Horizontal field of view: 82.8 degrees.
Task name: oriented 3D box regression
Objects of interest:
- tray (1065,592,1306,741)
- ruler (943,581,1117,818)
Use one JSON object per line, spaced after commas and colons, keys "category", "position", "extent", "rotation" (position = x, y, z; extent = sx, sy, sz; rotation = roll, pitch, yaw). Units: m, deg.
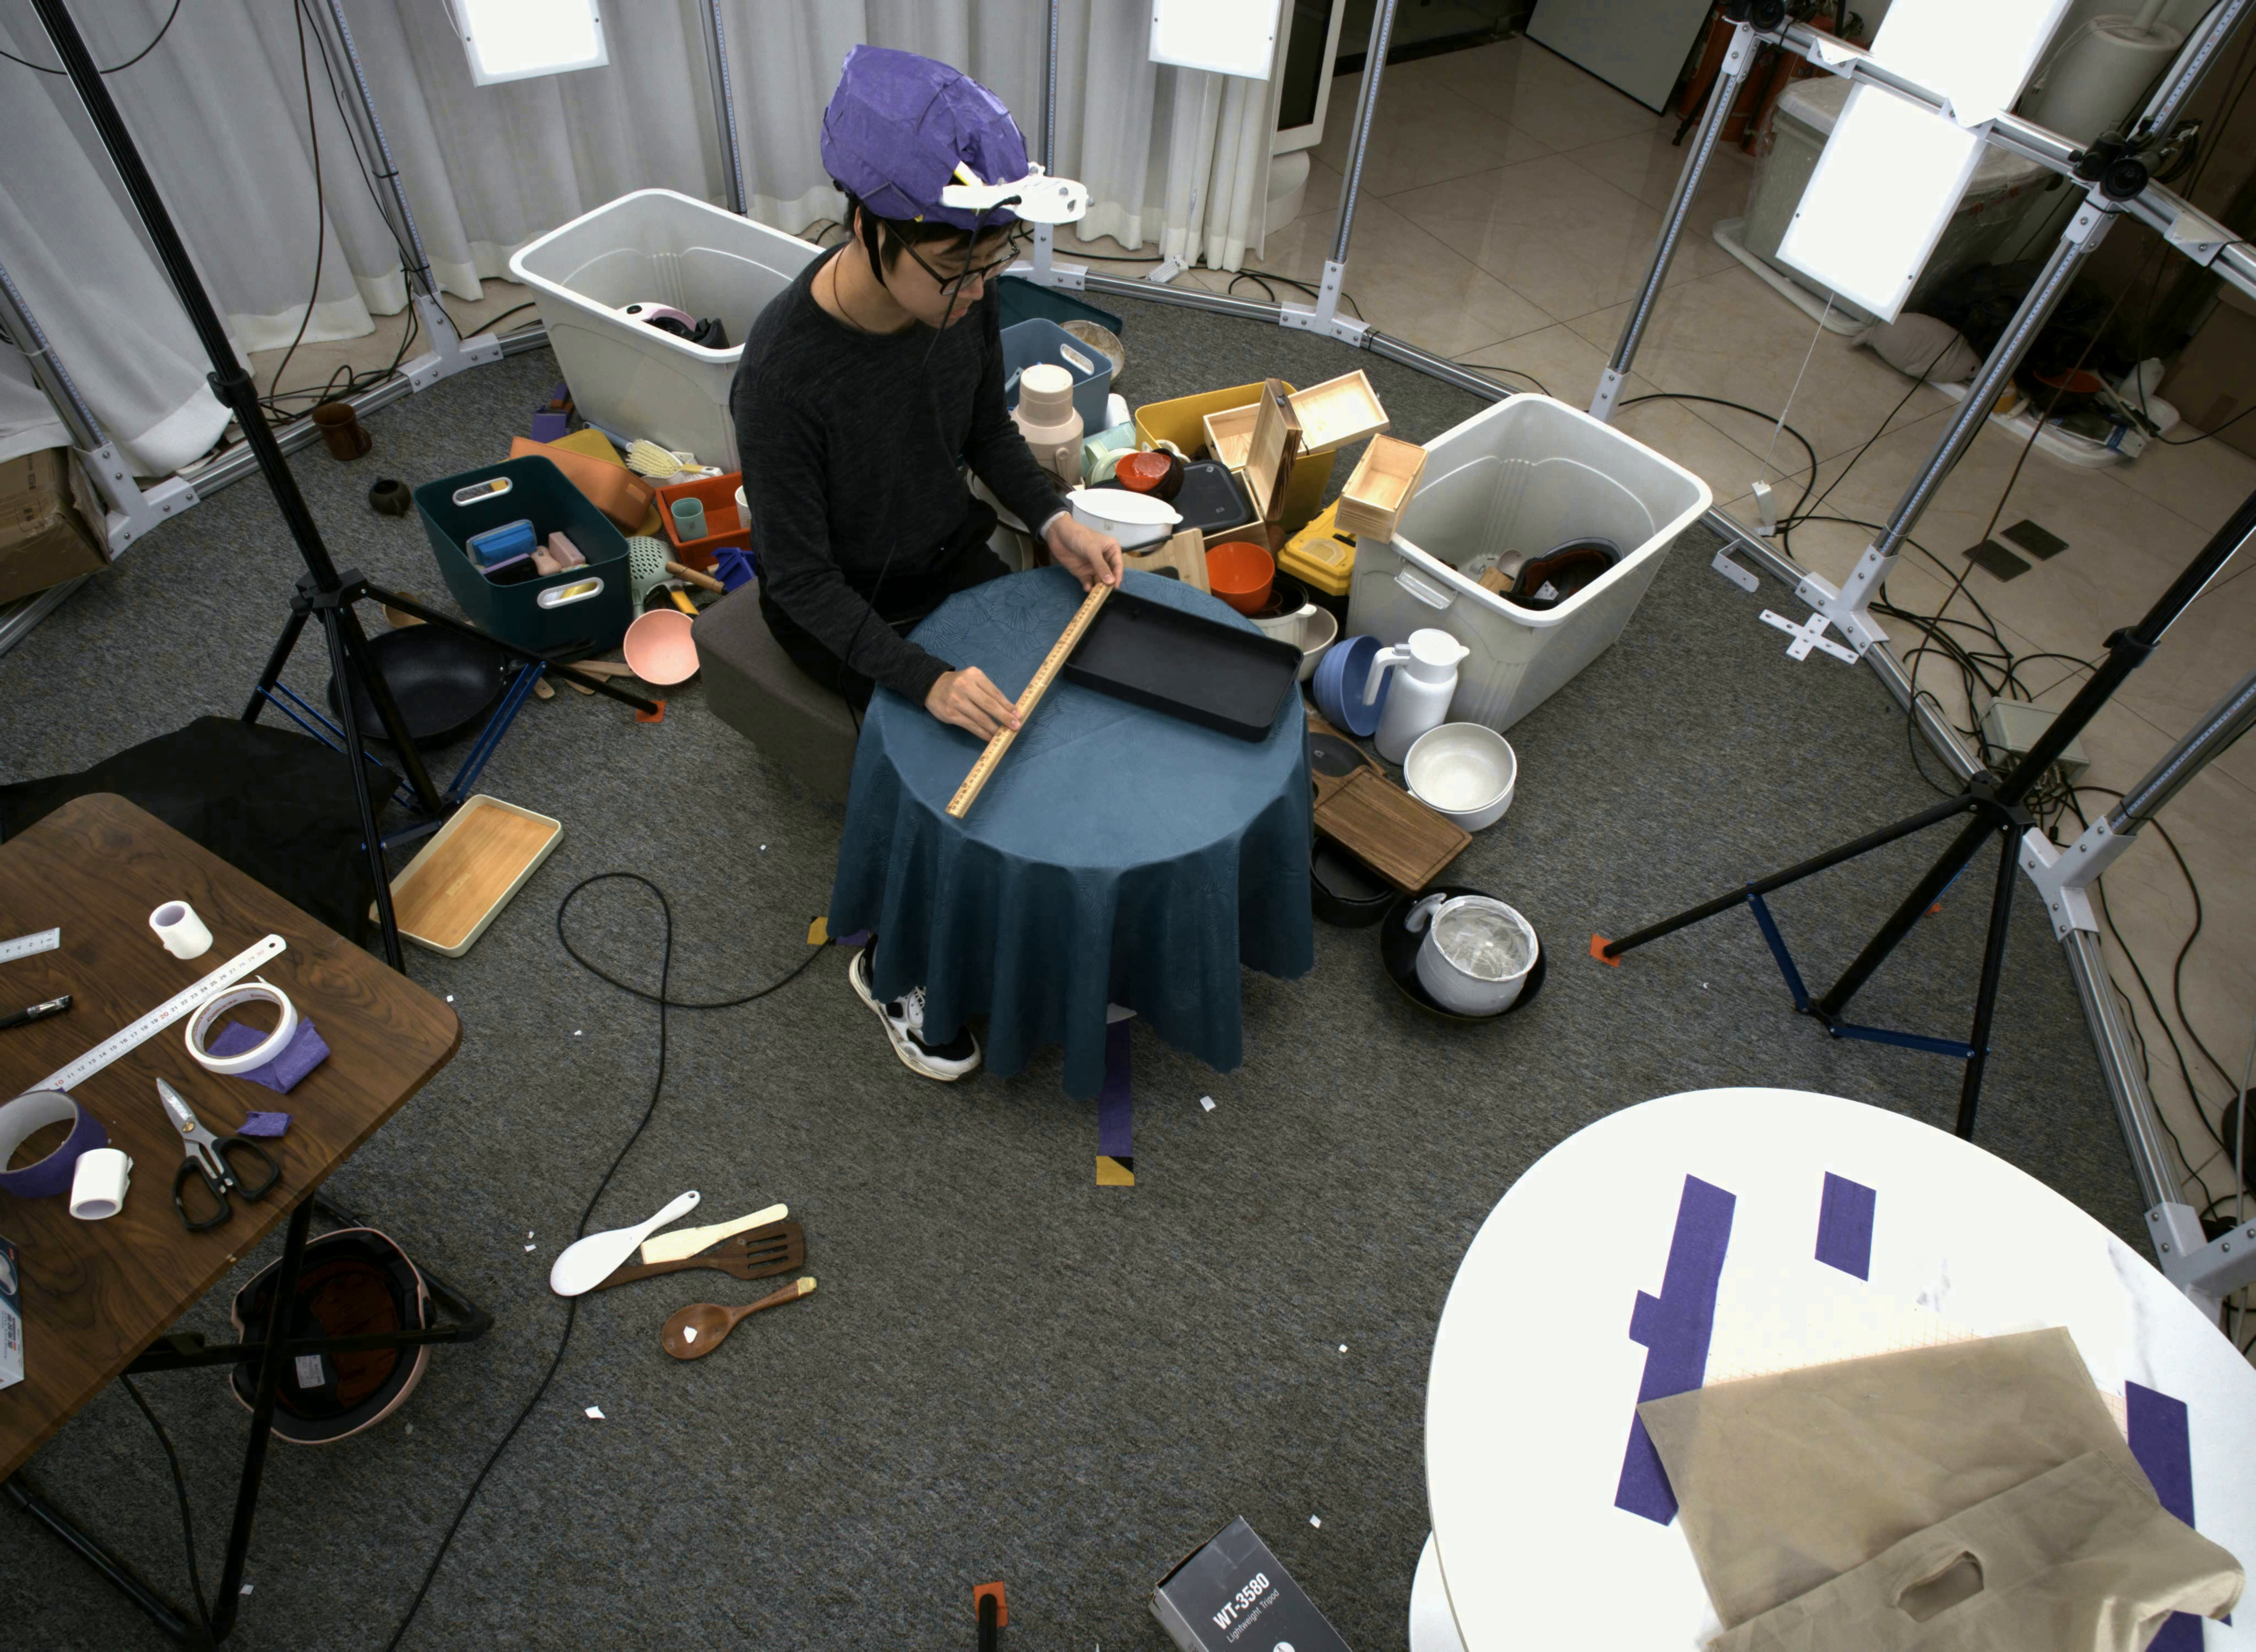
{"category": "tray", "position": [0.084, -0.233, 1.855], "extent": [0.319, 0.036, 0.188], "rotation": [18, 50, 12]}
{"category": "ruler", "position": [-0.127, -0.190, 1.780], "extent": [0.027, 0.006, 0.510], "rotation": [18, 51, 15]}
